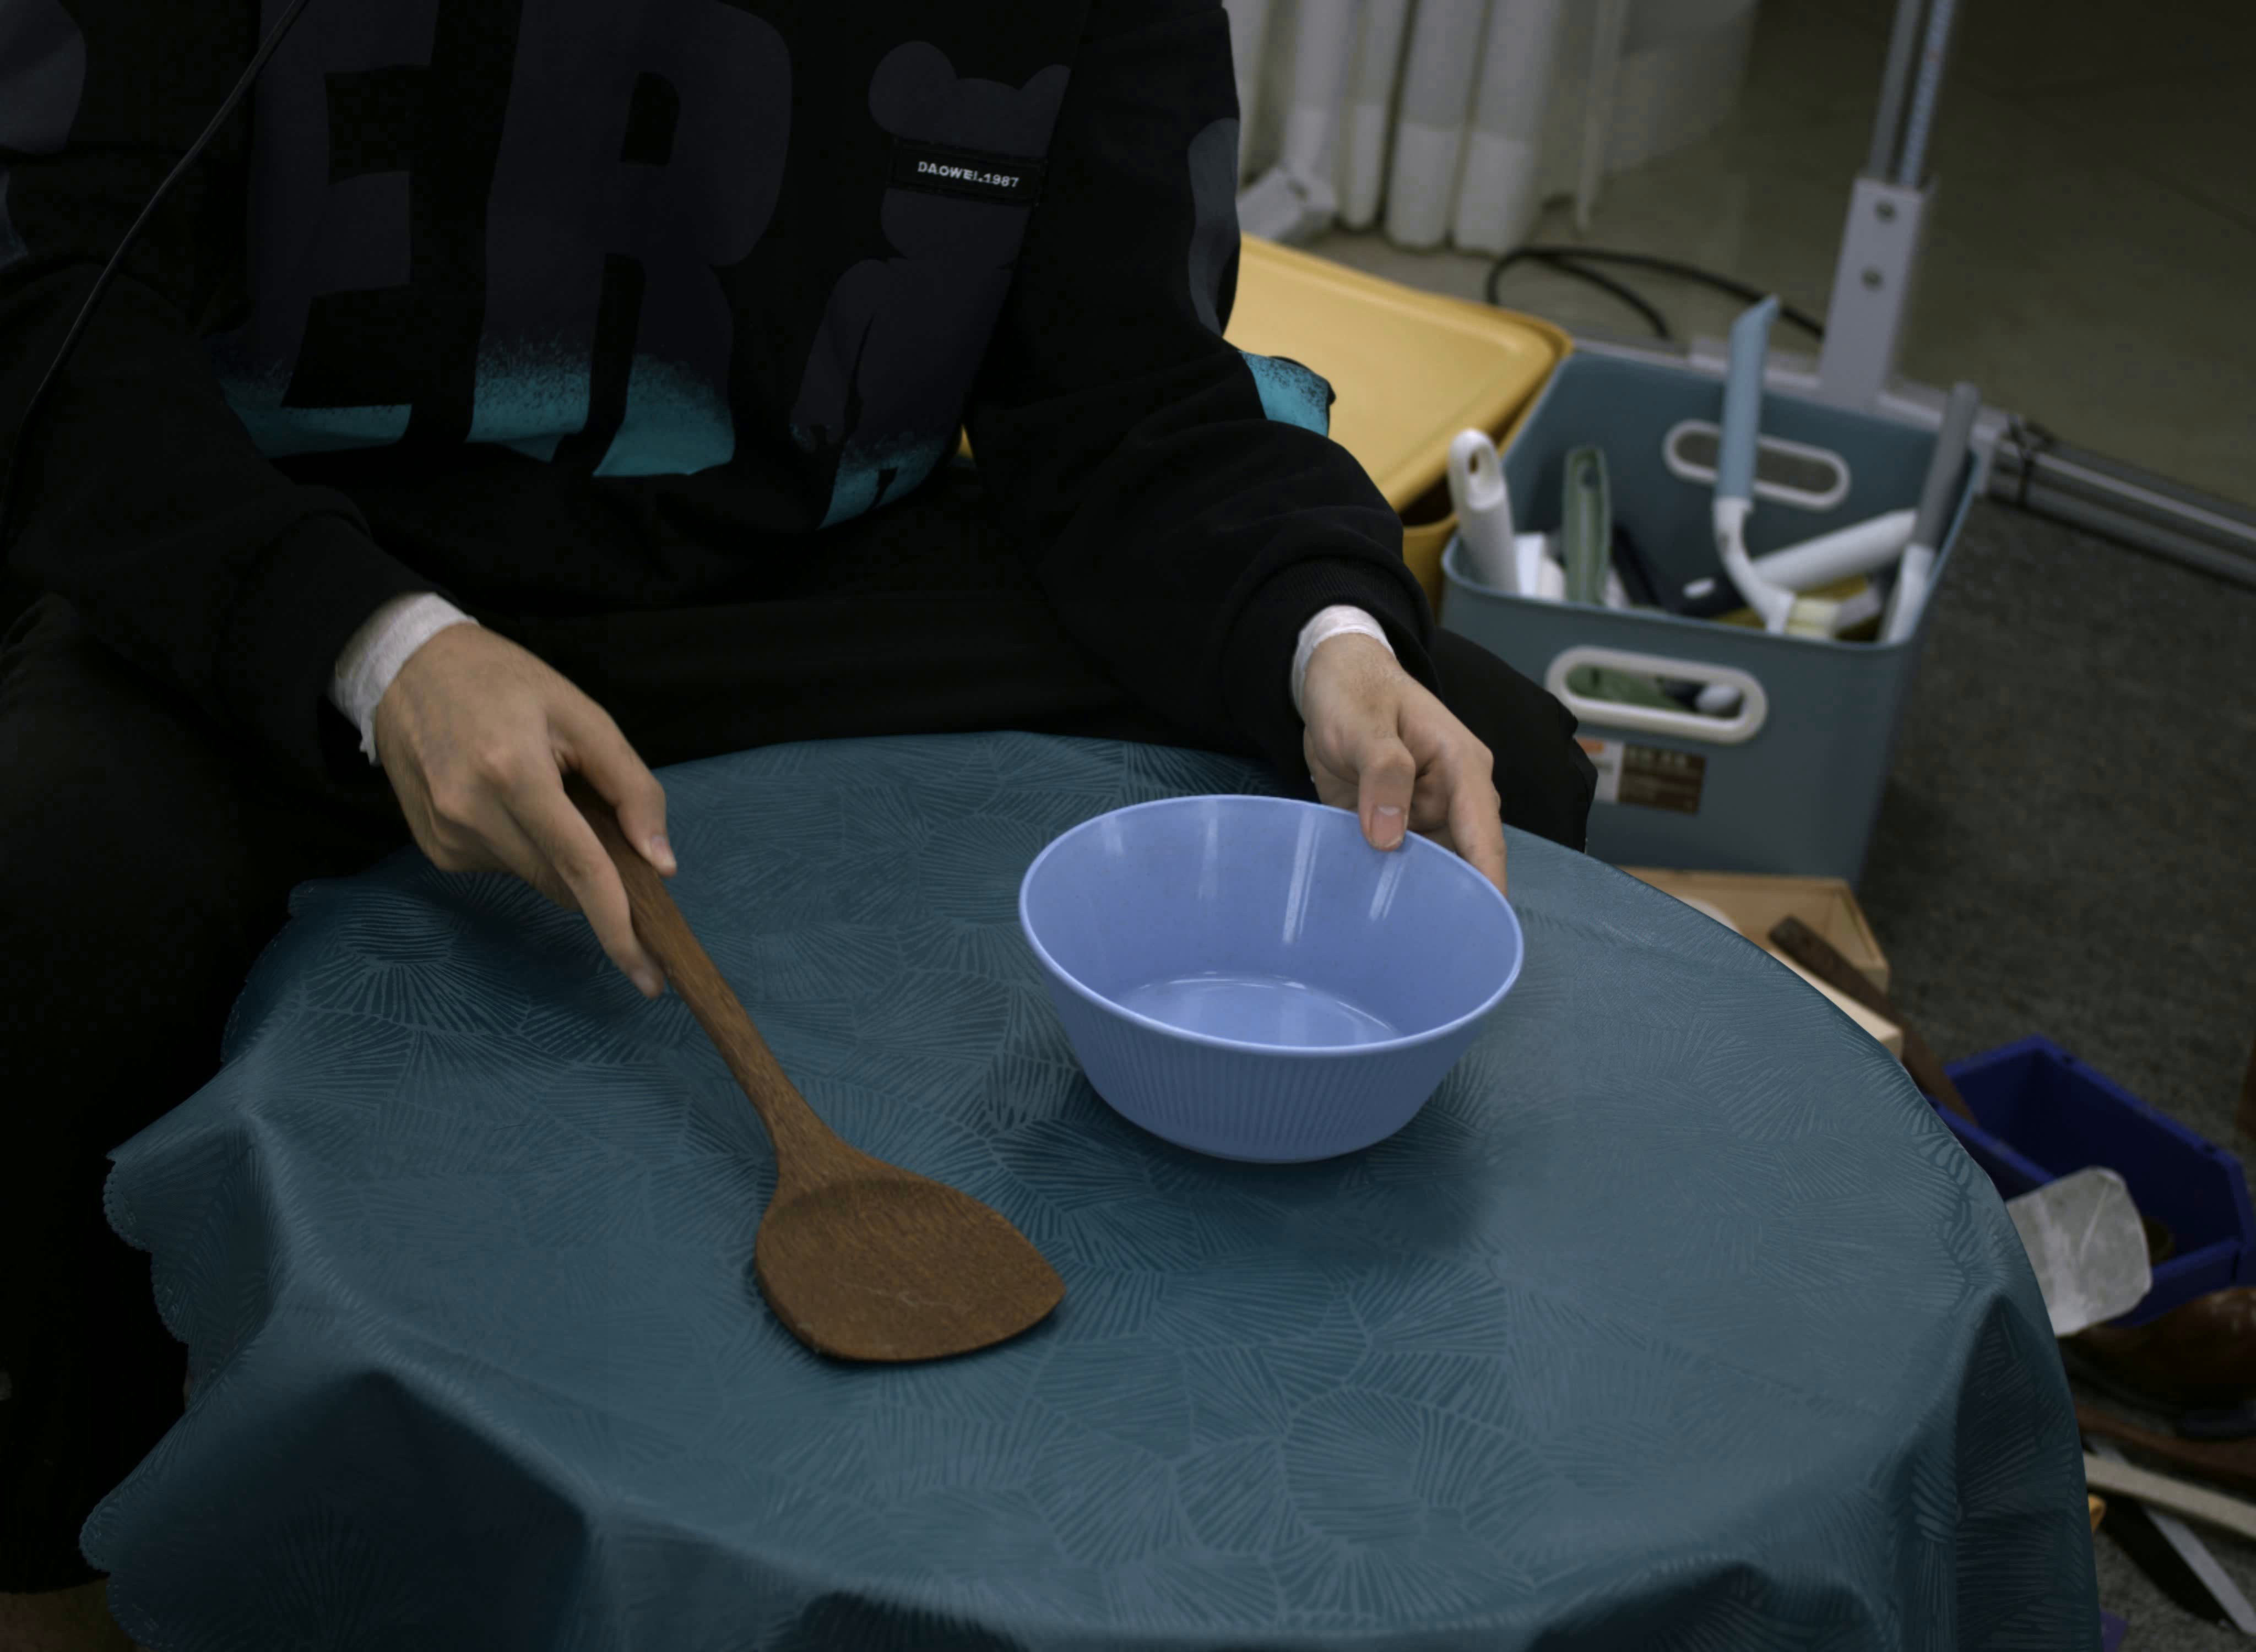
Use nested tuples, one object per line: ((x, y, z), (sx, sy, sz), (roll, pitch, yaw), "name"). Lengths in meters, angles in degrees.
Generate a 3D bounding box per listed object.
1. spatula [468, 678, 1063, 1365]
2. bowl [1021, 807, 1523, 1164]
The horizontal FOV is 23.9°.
((-0.144, 0.057, 1.827), (0.095, 0.016, 0.390), (-10, 41, -29), "spatula")
((0.047, 0.061, 1.854), (0.175, 0.070, 0.177), (4, 27, -3), "bowl")
